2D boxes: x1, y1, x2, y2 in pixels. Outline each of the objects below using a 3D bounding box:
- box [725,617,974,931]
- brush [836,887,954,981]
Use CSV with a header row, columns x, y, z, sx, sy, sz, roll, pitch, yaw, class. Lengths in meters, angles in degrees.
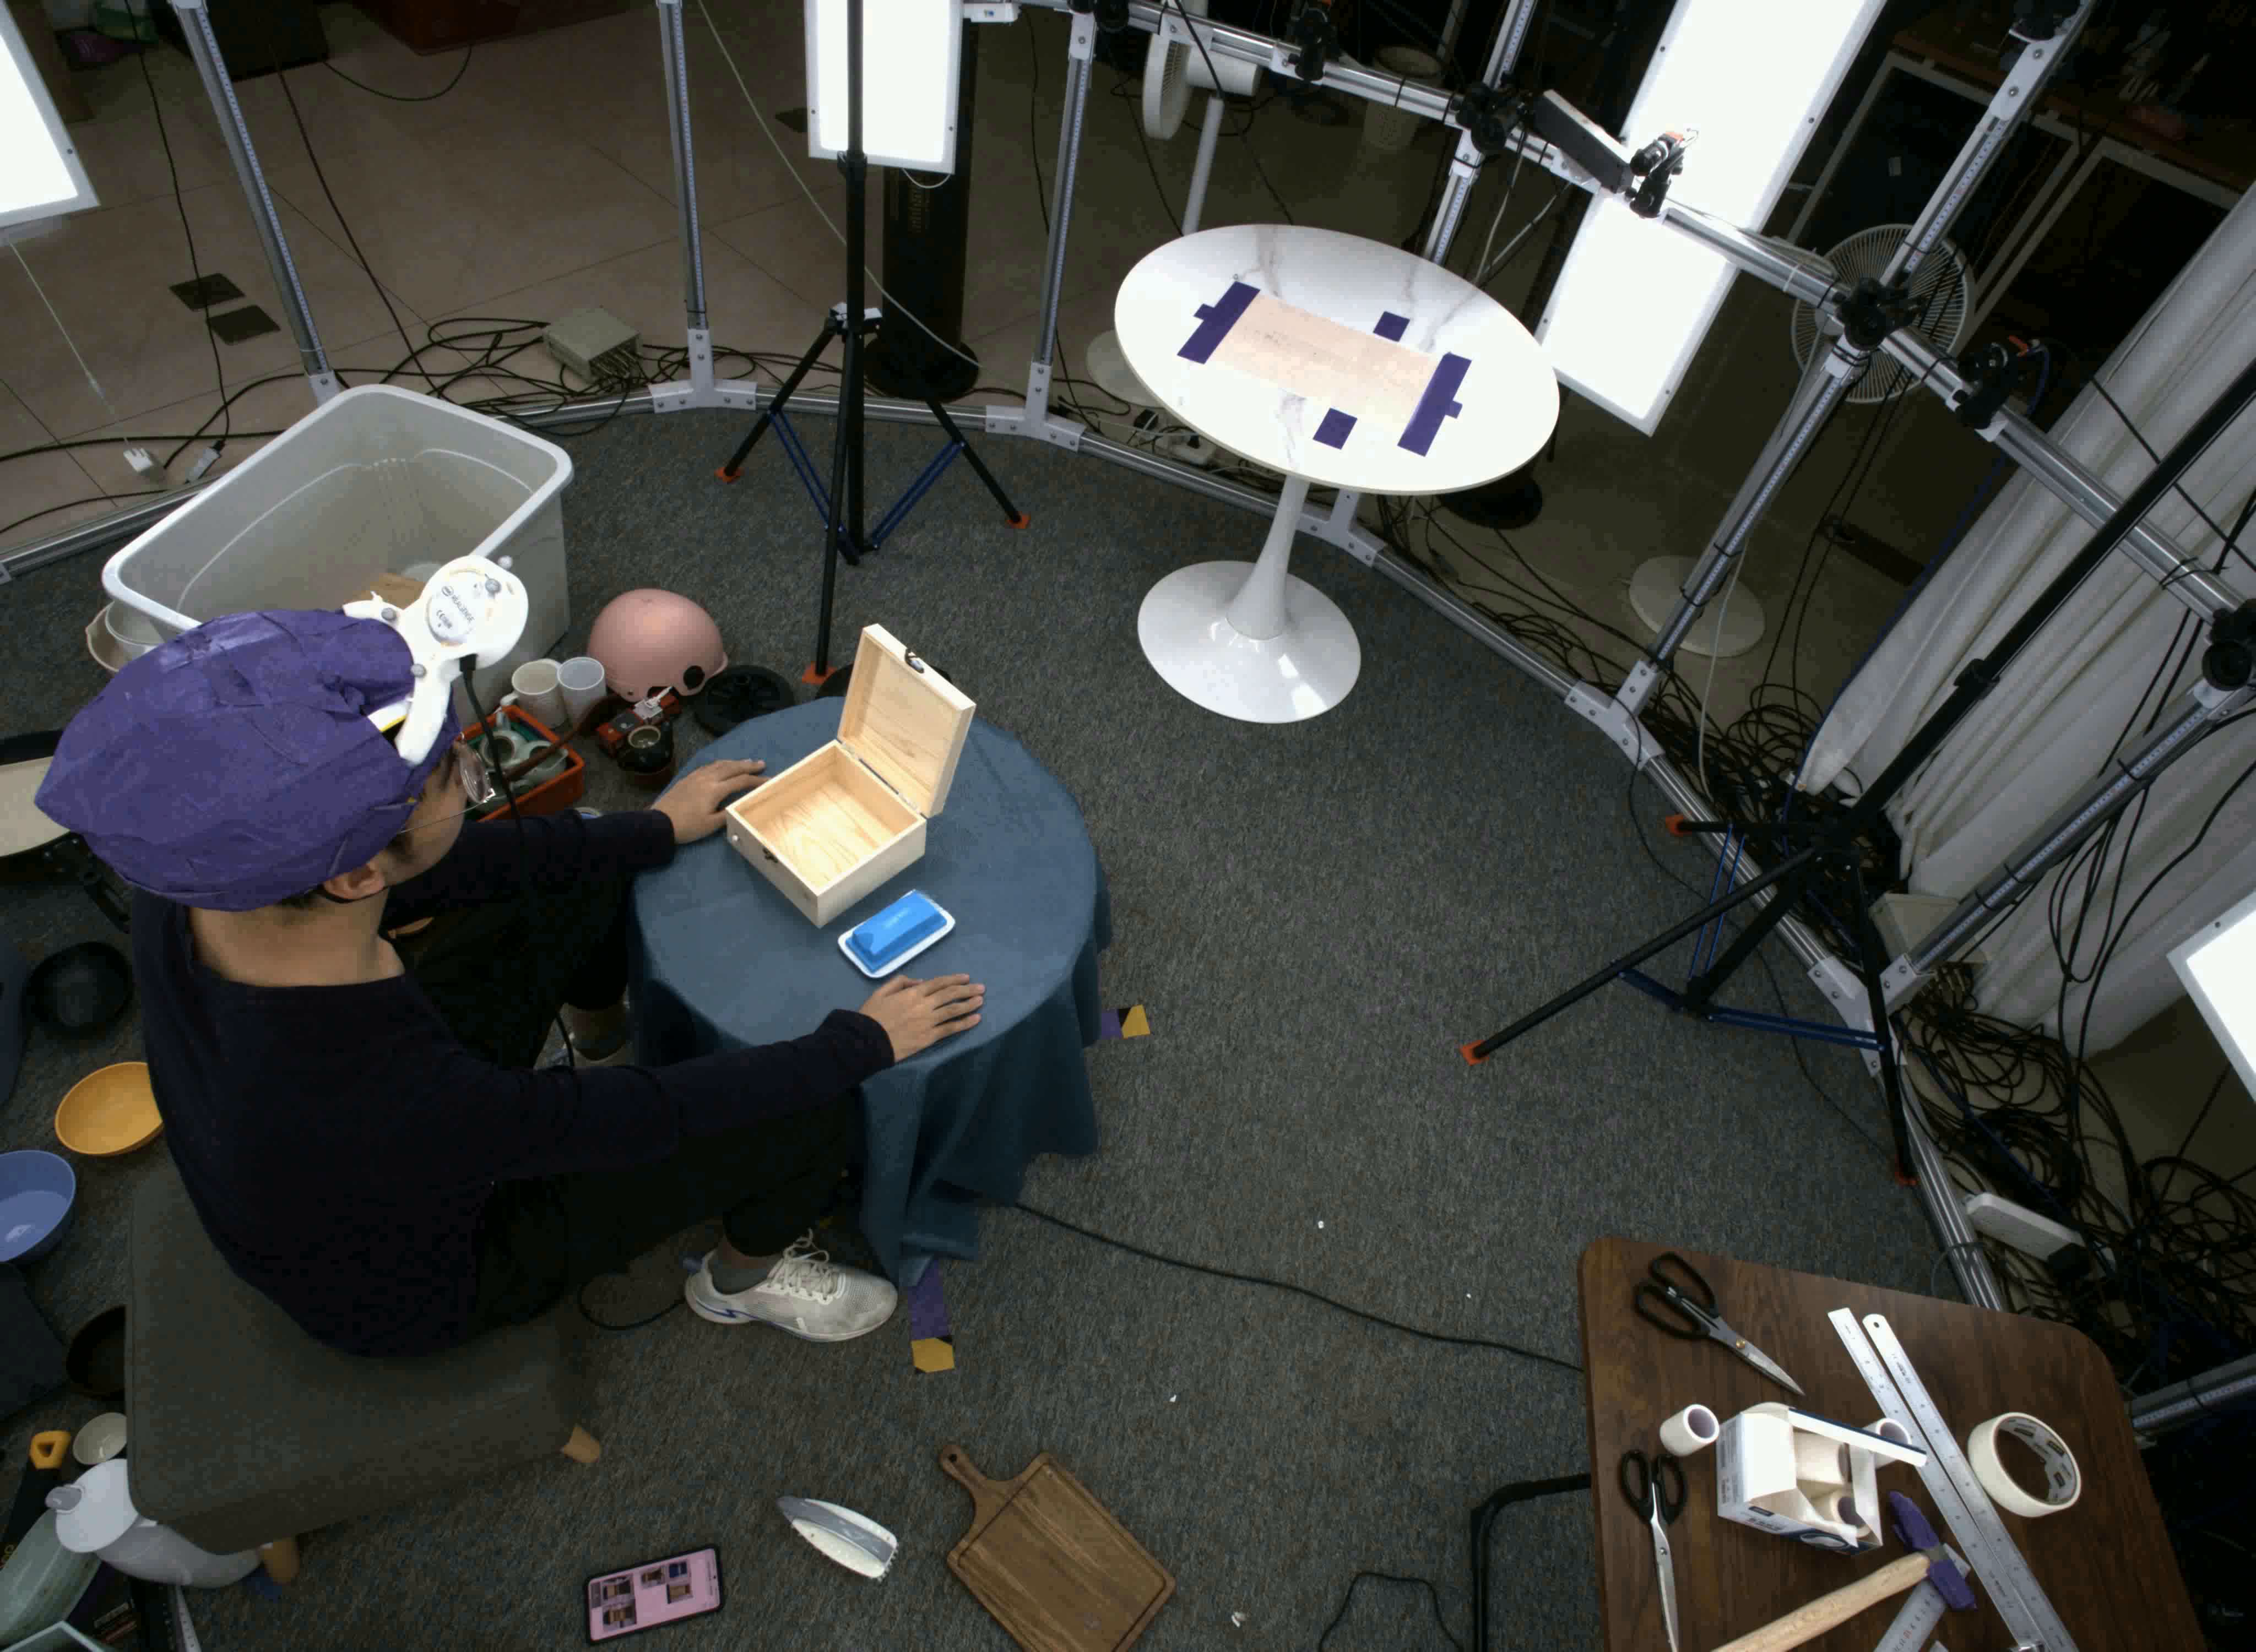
x,y,z,sx,sy,sz,roll,pitch,yaw,class
-0.355,-0.066,1.629,0.177,0.259,0.265,37,54,18,box
-0.291,0.126,1.626,0.144,0.057,0.081,-32,62,-33,brush
